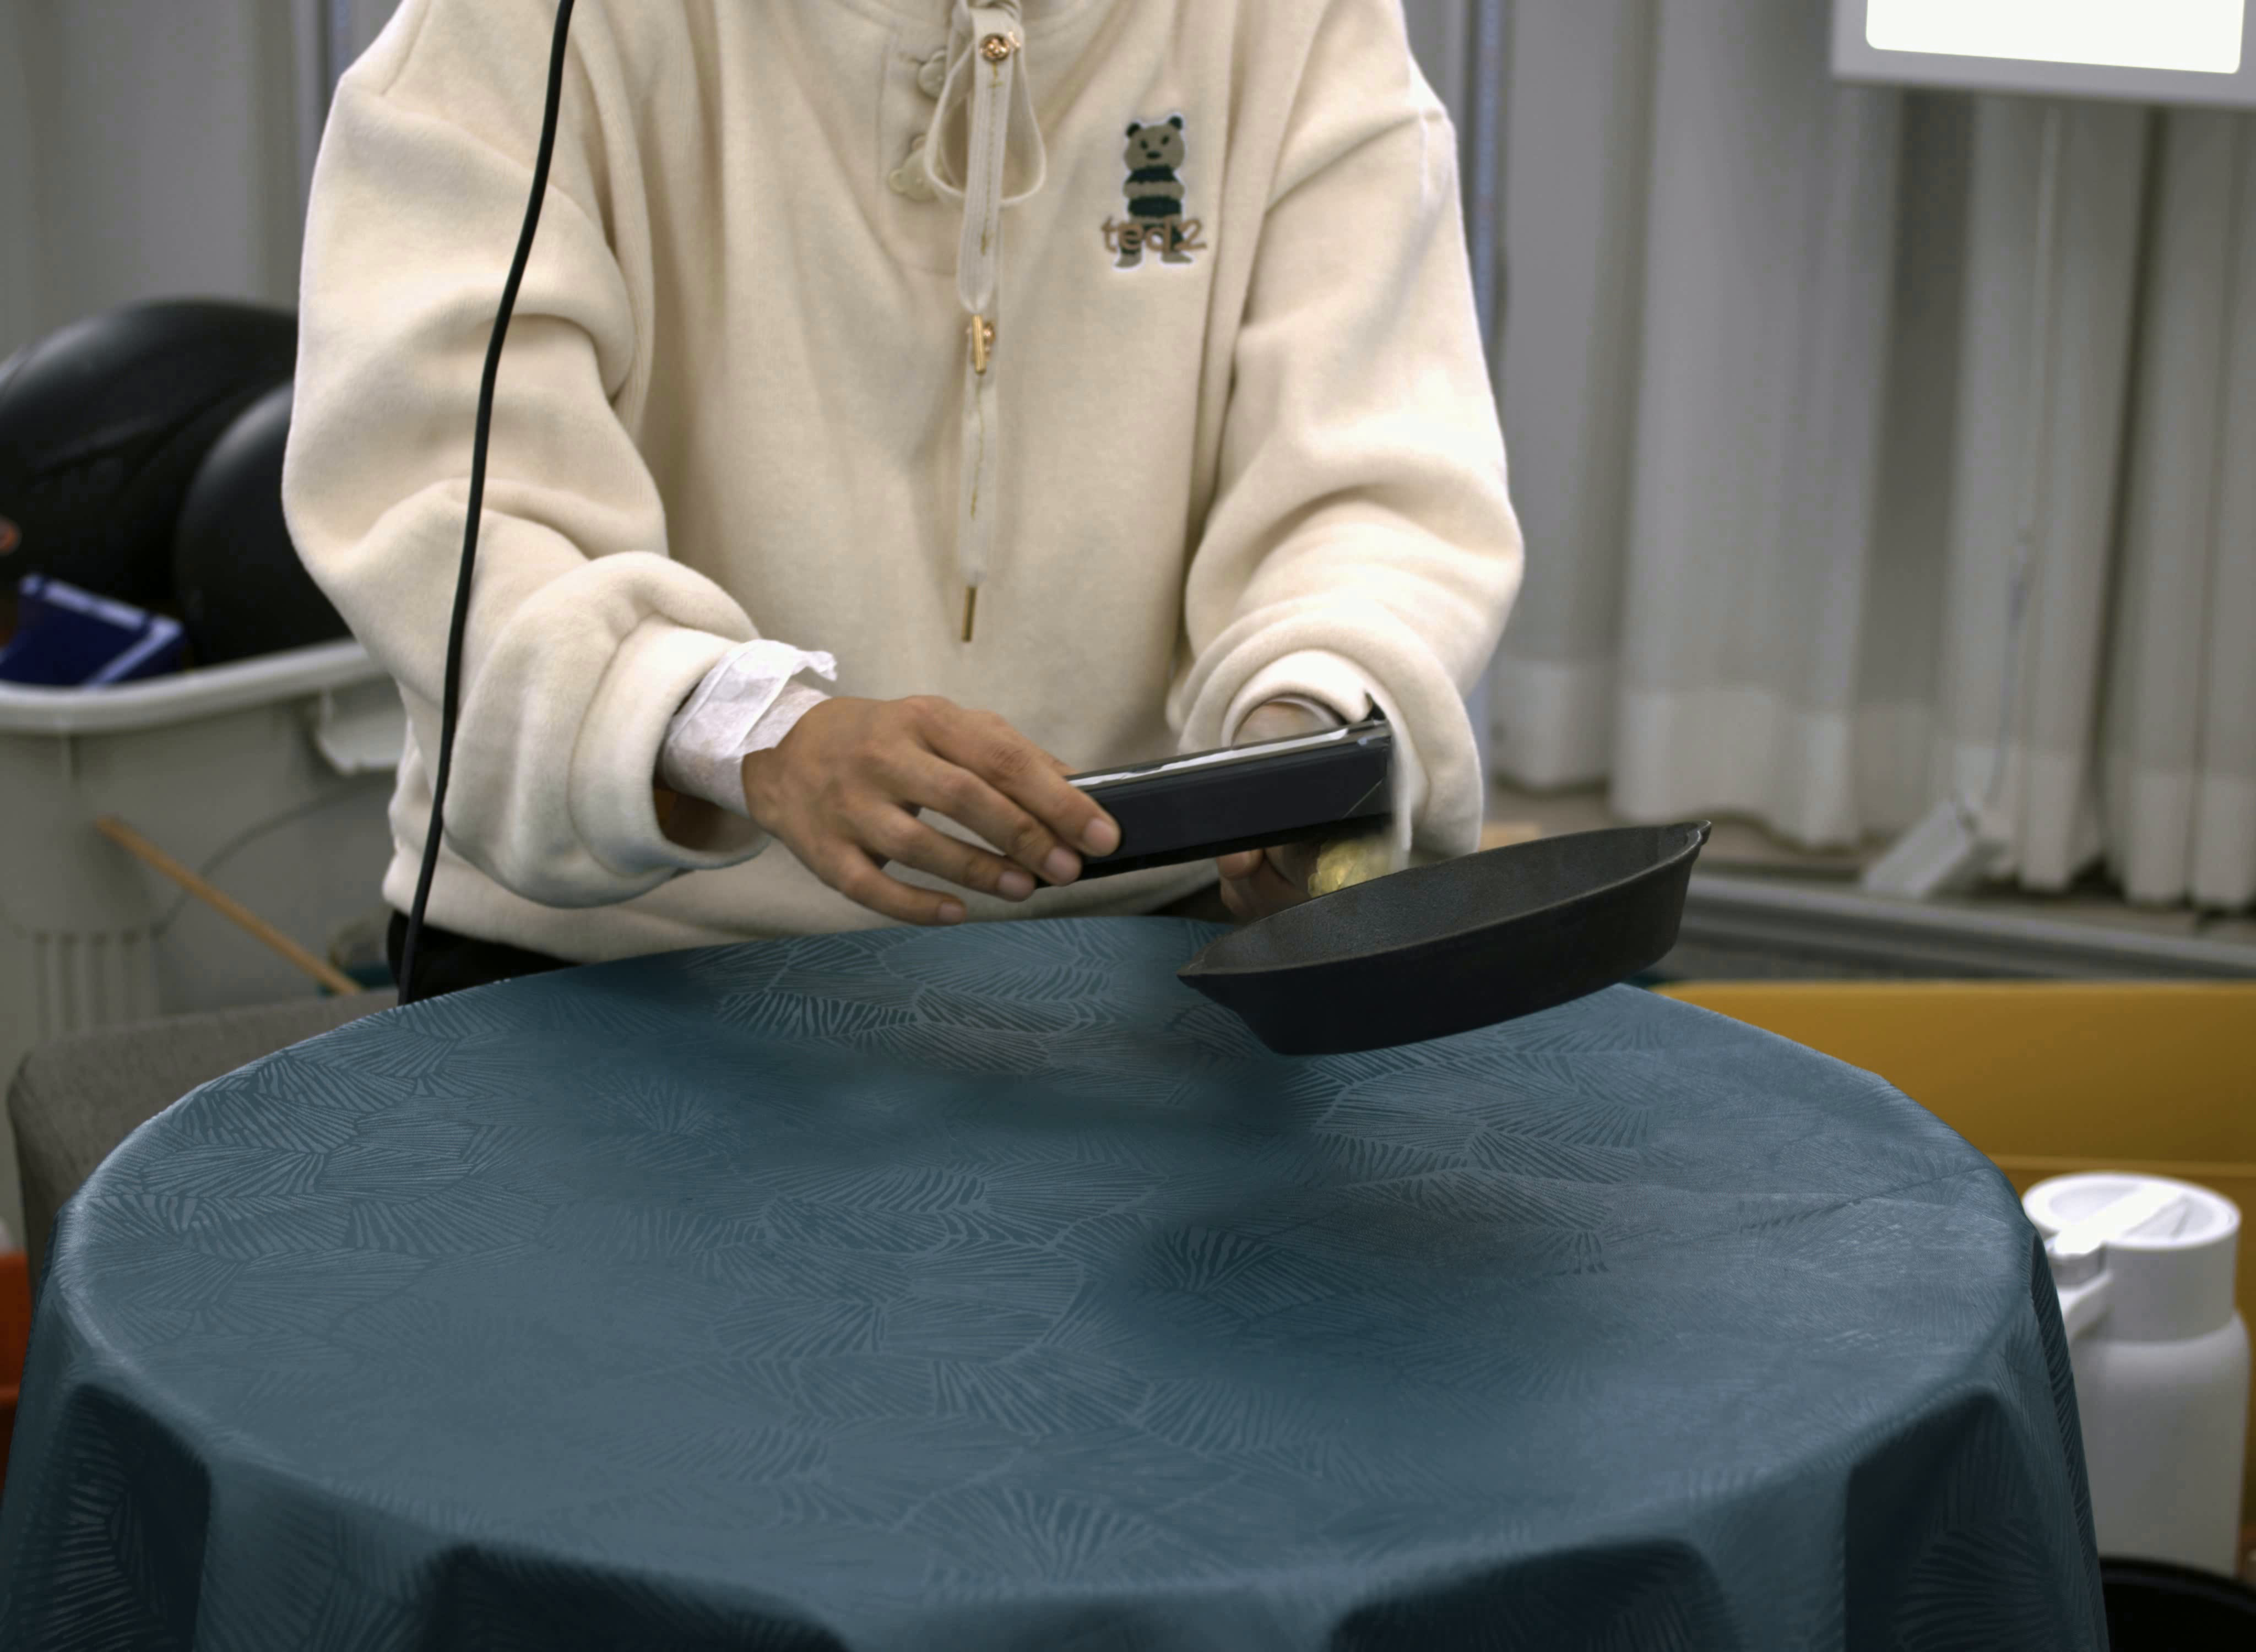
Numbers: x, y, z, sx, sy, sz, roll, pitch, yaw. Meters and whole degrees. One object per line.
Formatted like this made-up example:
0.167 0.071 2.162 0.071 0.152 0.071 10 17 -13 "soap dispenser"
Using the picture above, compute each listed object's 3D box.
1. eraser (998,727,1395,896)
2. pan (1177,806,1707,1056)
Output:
0.024 -0.005 1.712 0.125 0.030 0.053 -11 8 12 "eraser"
0.082 0.021 1.661 0.169 0.050 0.322 -17 7 -8 "pan"
